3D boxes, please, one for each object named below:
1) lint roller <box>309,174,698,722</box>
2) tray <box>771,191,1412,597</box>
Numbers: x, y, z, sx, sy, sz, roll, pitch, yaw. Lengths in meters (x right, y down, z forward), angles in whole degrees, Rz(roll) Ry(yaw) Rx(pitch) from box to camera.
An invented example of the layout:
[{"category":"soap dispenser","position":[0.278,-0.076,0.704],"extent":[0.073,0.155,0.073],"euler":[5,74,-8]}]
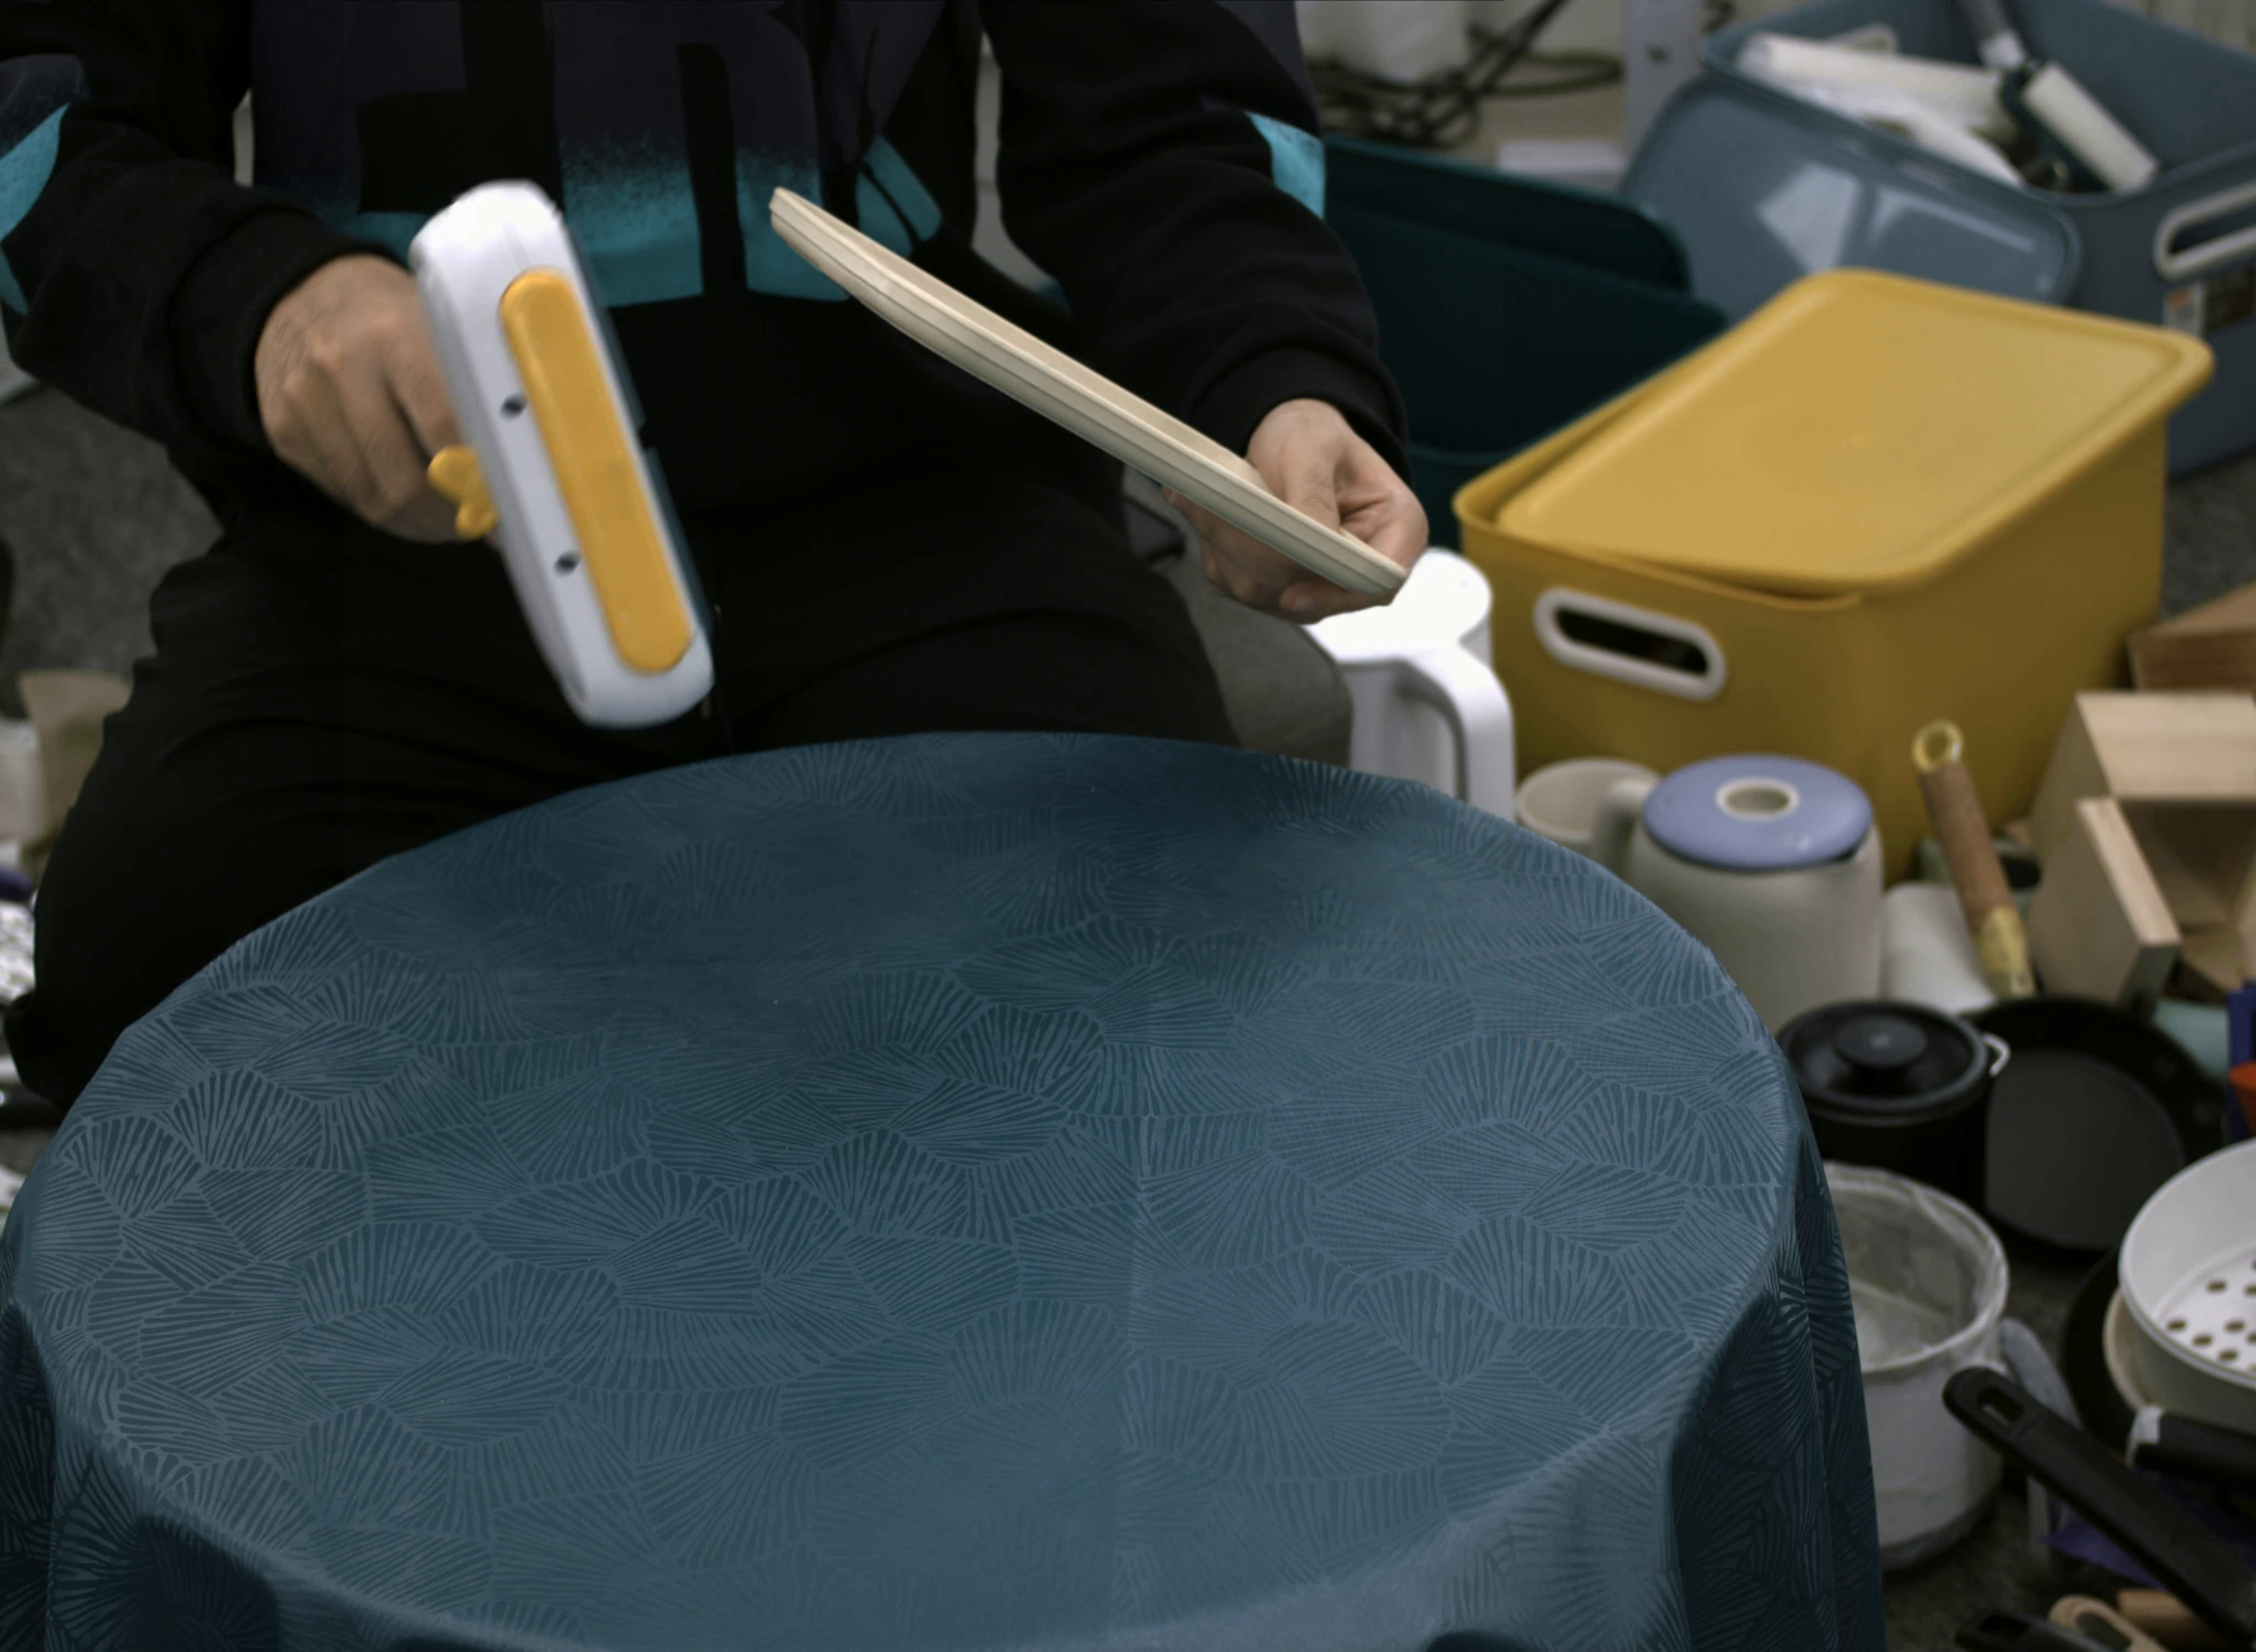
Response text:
[{"category":"lint roller","position":[-0.229,-0.130,1.962],"extent":[0.075,0.192,0.192],"euler":[-29,18,-20]},{"category":"tray","position":[-0.015,-0.153,2.029],"extent":[0.238,0.017,0.172],"euler":[28,5,-30]}]
